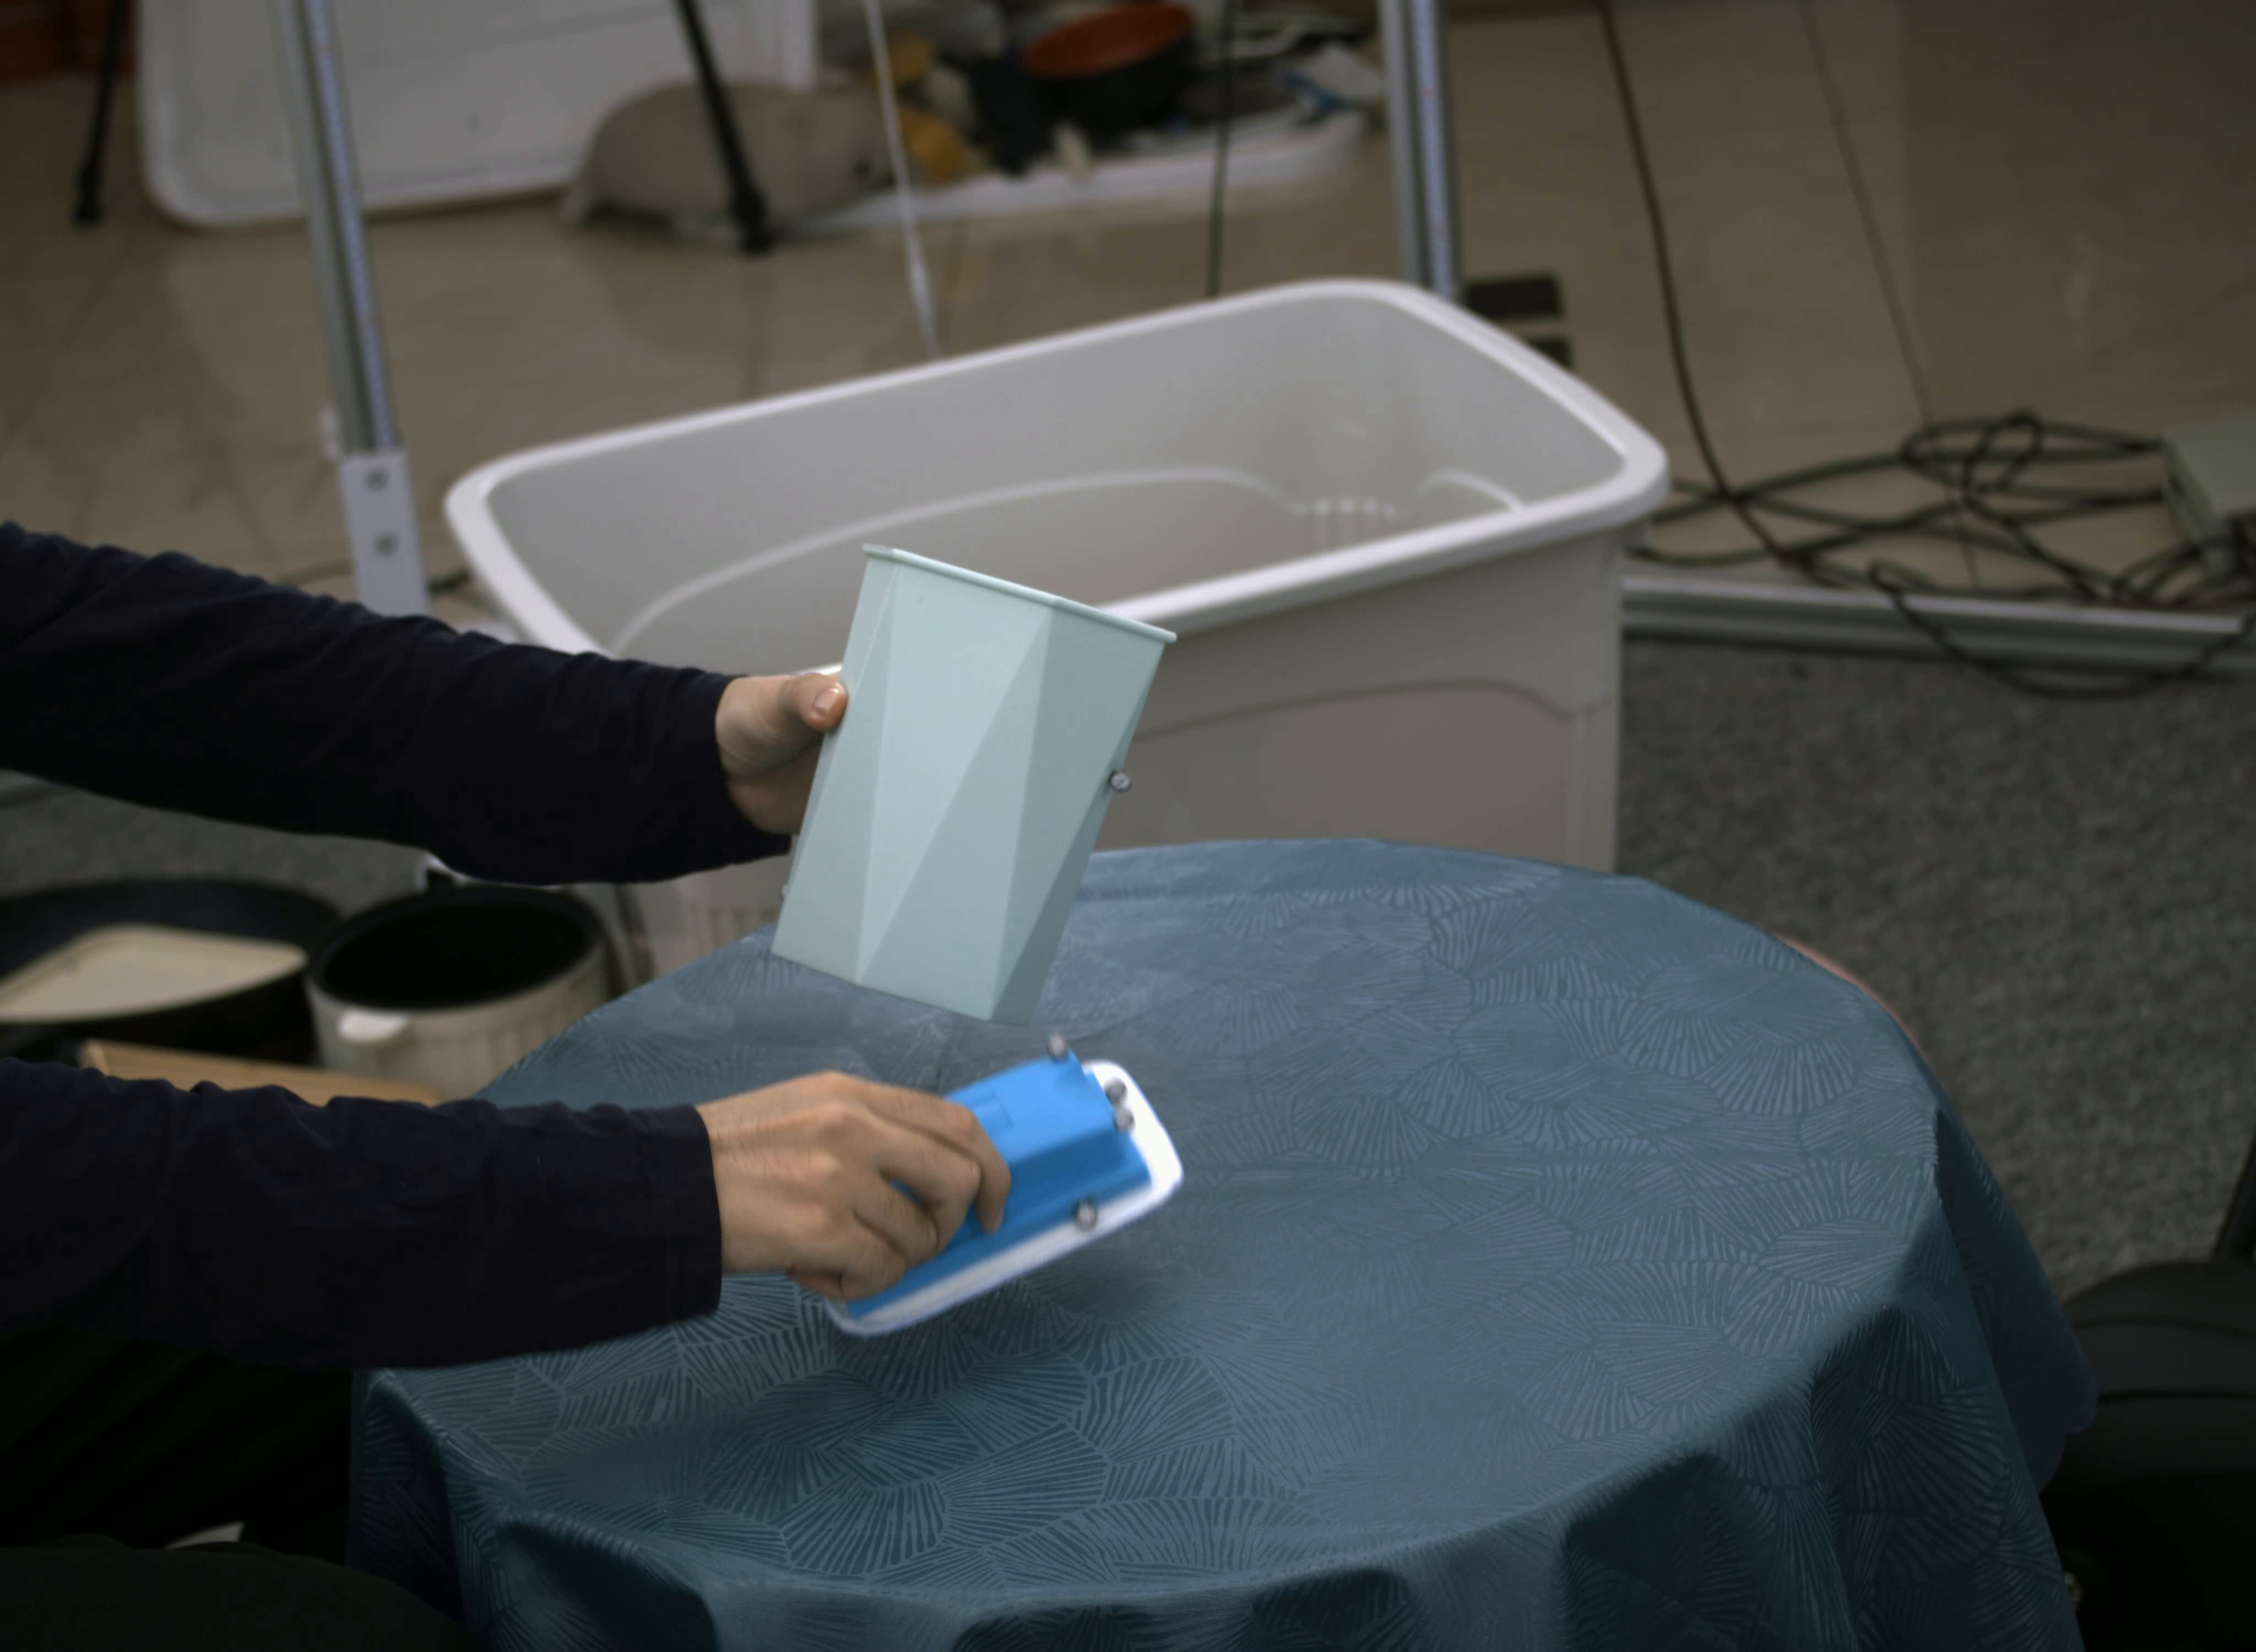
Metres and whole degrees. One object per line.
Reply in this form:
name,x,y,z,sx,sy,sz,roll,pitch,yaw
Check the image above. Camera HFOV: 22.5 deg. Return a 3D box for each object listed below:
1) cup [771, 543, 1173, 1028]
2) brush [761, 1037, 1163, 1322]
cup,-0.065,-0.014,2.161,0.115,0.163,0.130,15,3,-16
brush,-0.063,0.121,2.050,0.143,0.057,0.082,-22,41,-8
